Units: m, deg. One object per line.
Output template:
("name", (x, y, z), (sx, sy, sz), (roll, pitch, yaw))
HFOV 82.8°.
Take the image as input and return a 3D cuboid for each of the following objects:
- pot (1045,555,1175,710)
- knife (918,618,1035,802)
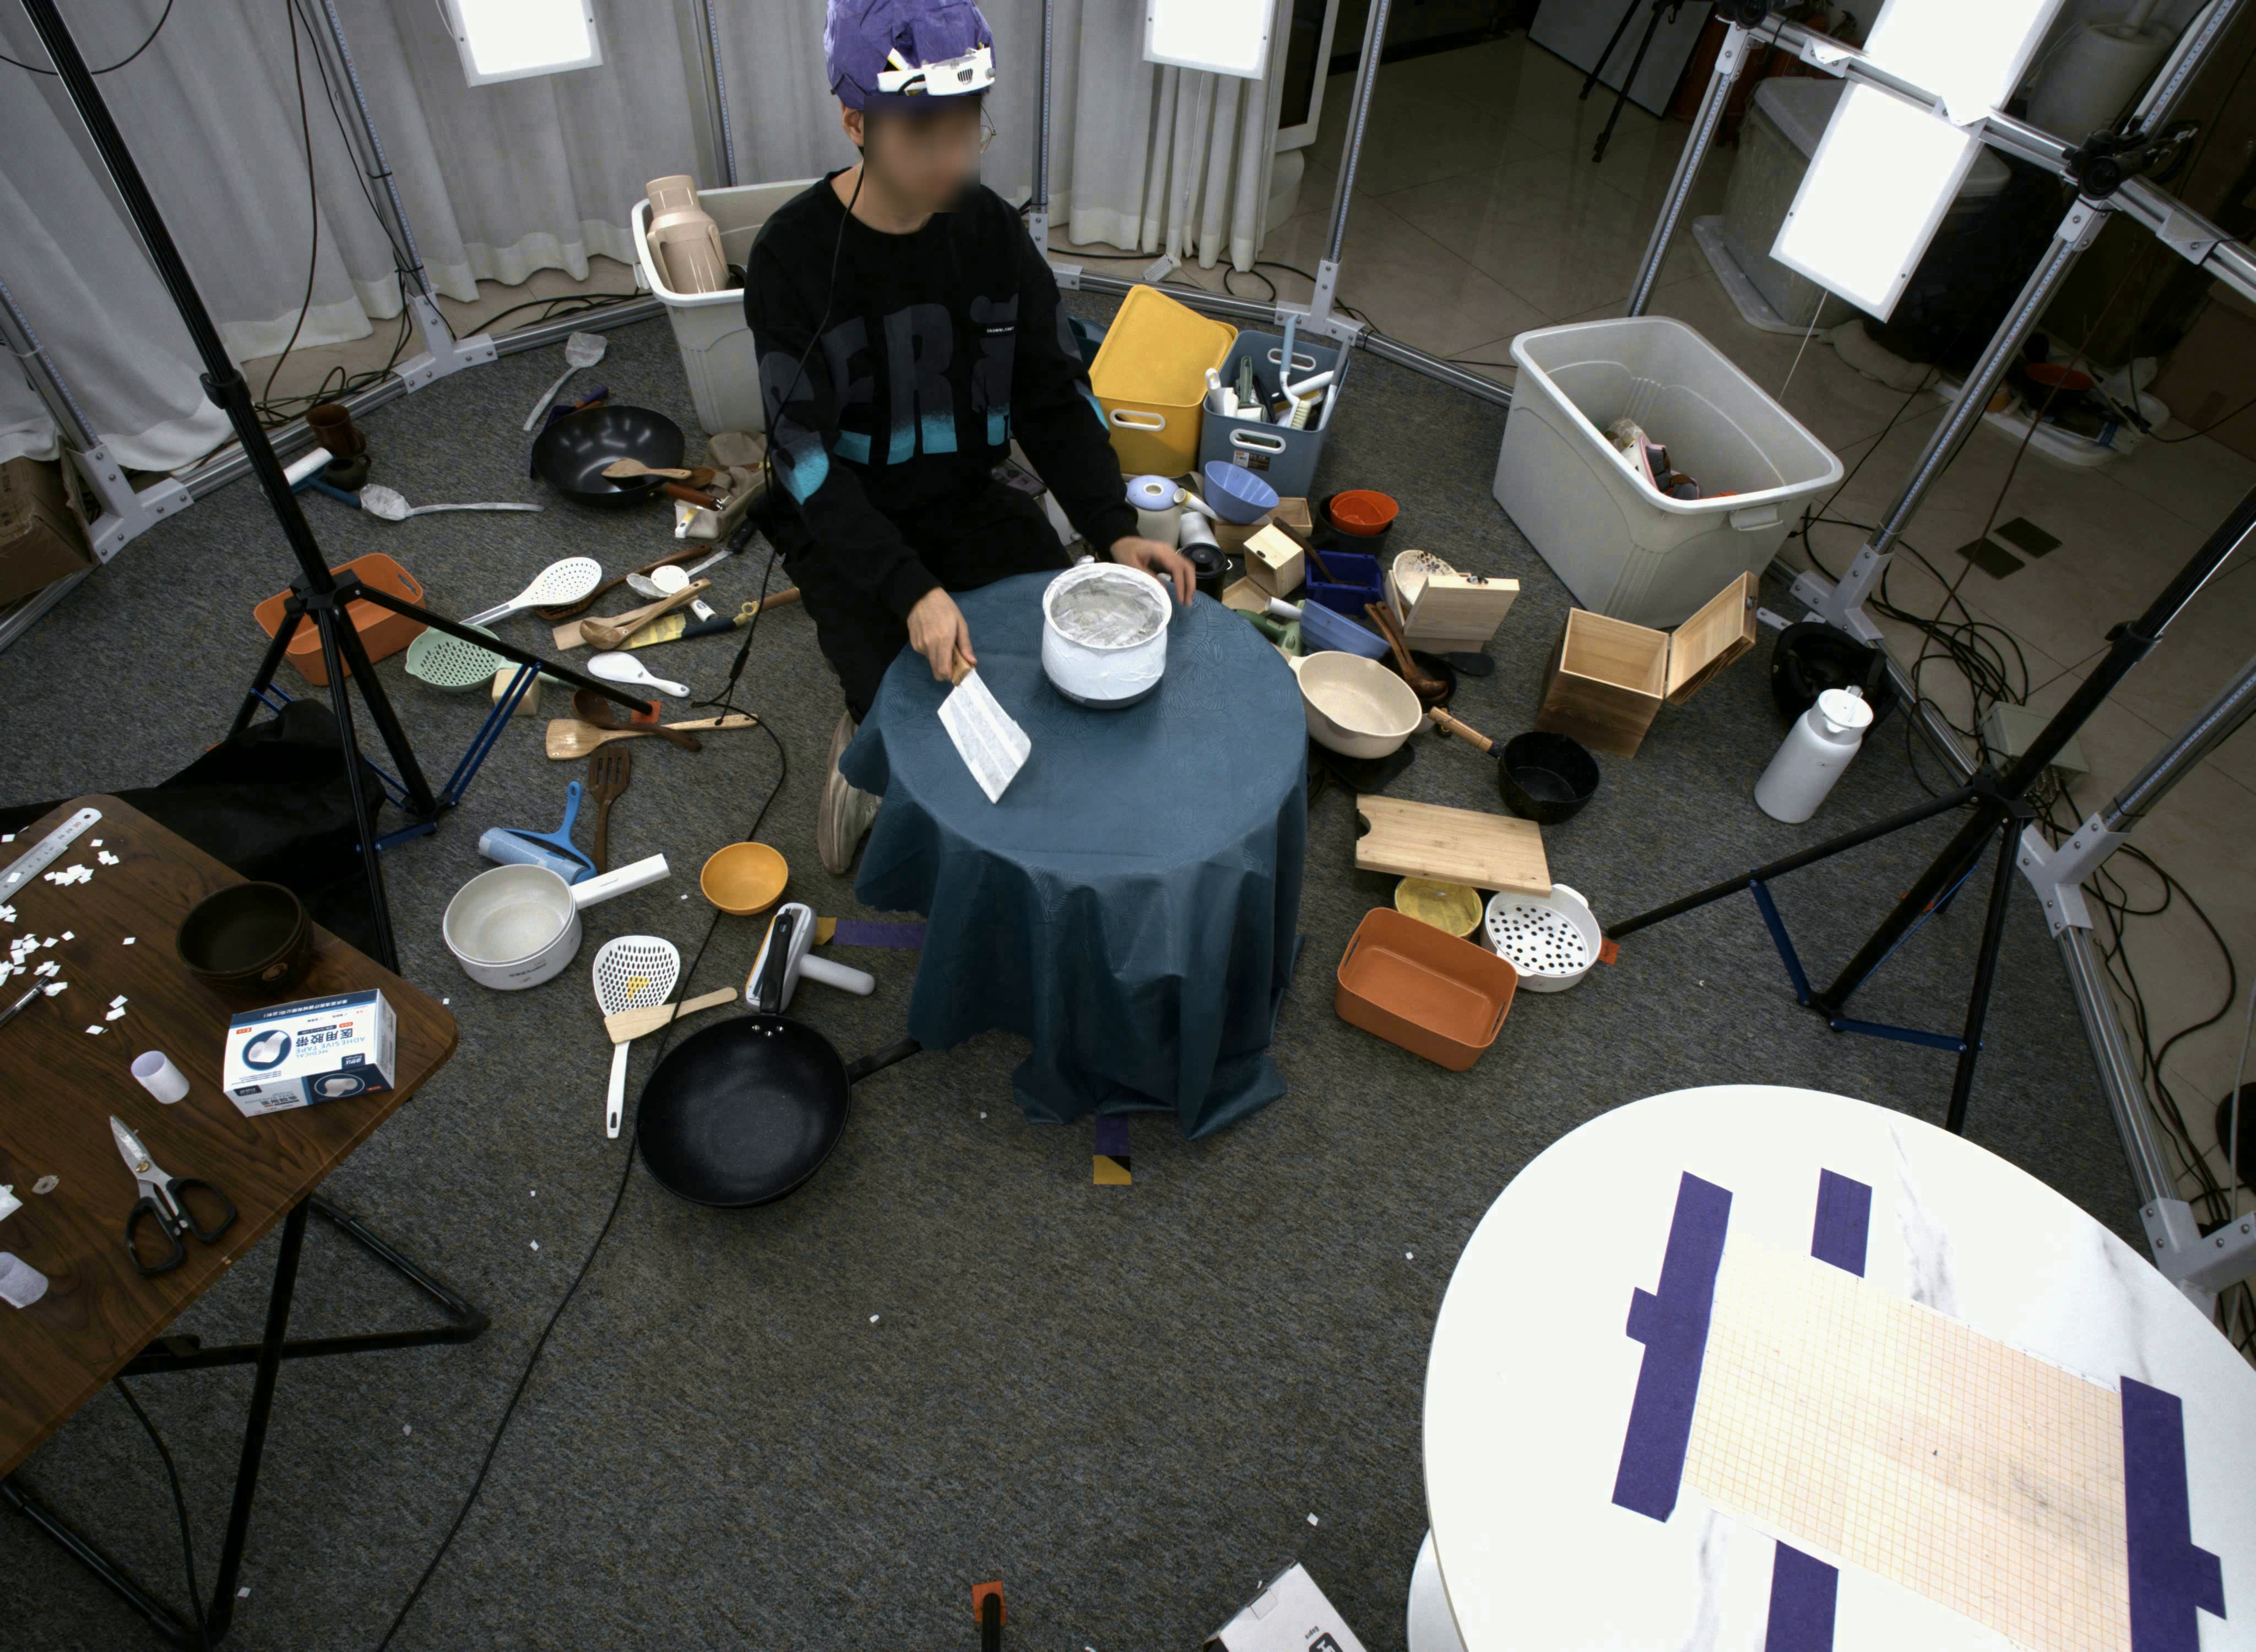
("pot", (-0.037, -0.284, 1.824), (0.178, 0.133, 0.239), (-11, 52, -14))
("knife", (-0.213, -0.172, 1.747), (0.021, 0.113, 0.322), (17, 34, -49))
